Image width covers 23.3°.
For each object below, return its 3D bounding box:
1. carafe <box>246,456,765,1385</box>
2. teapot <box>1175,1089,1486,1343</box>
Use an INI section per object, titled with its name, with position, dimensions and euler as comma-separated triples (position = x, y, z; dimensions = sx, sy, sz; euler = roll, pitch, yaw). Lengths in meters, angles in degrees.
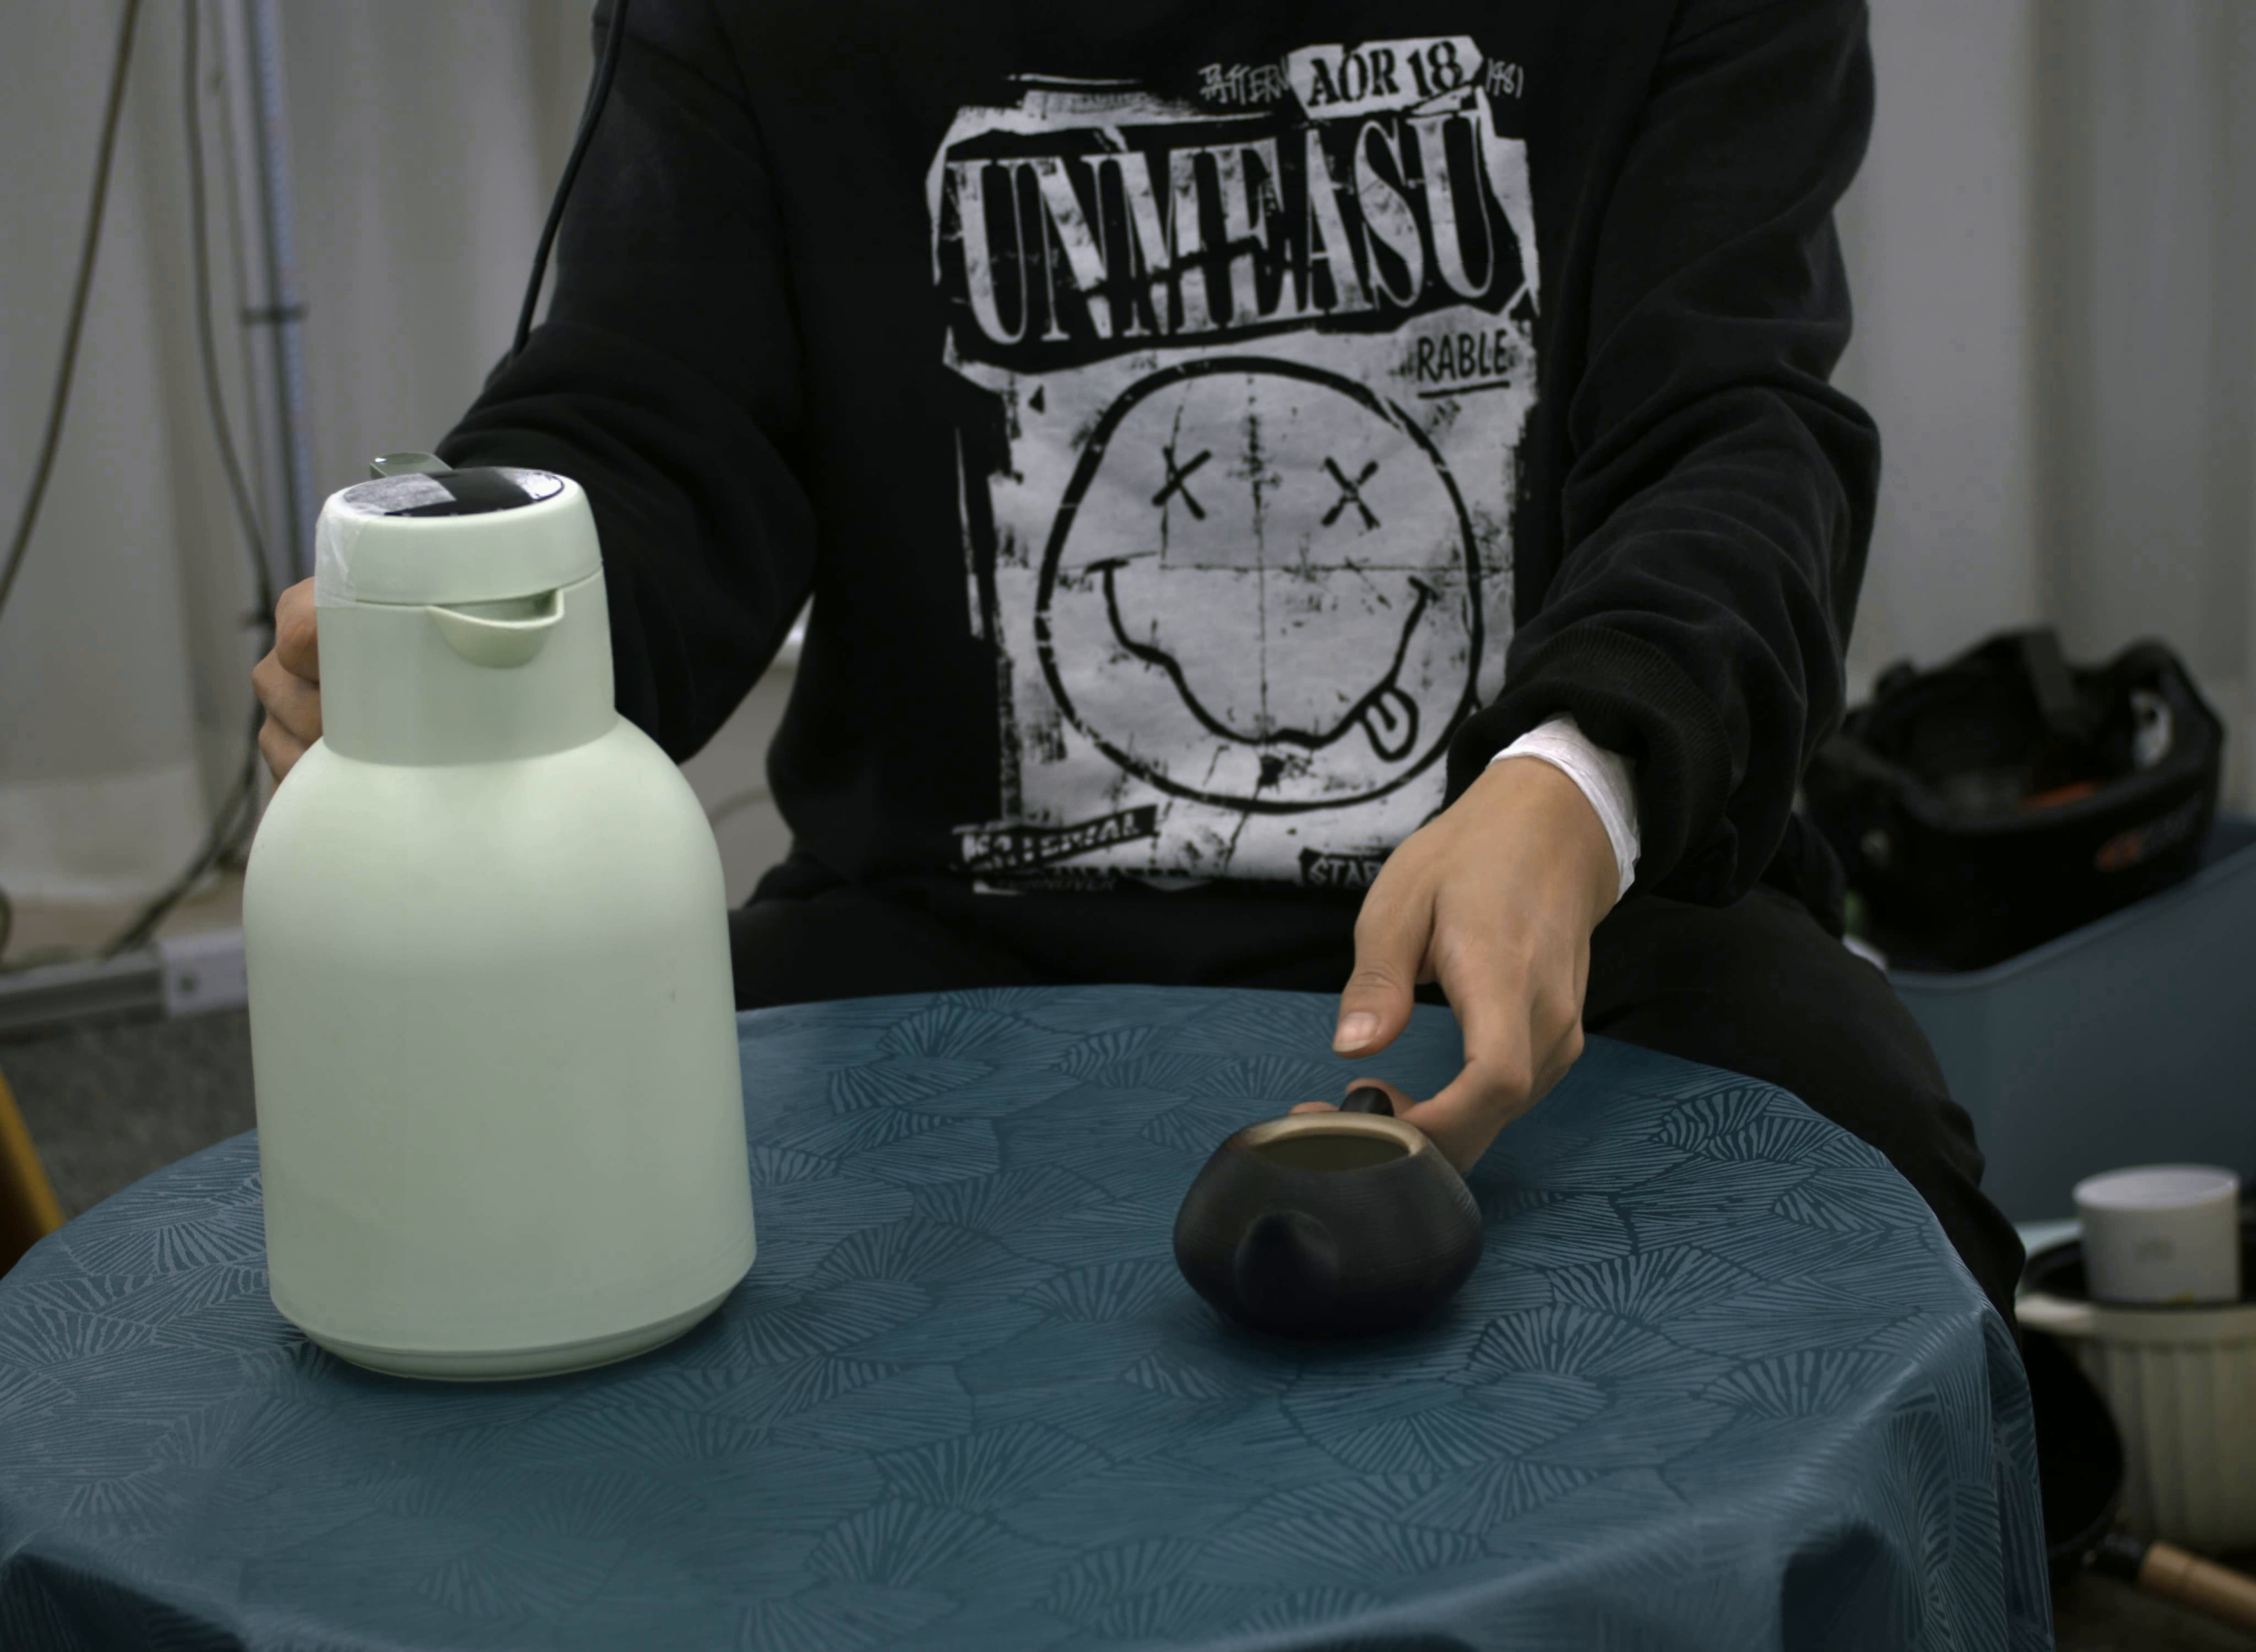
[carafe]
position = -0.193, 0.022, 1.618
dimensions = 0.143, 0.256, 0.188
euler = -10, 12, -22
[teapot]
position = 0.059, 0.117, 1.592
dimensions = 0.091, 0.053, 0.133
euler = 3, 16, 17
